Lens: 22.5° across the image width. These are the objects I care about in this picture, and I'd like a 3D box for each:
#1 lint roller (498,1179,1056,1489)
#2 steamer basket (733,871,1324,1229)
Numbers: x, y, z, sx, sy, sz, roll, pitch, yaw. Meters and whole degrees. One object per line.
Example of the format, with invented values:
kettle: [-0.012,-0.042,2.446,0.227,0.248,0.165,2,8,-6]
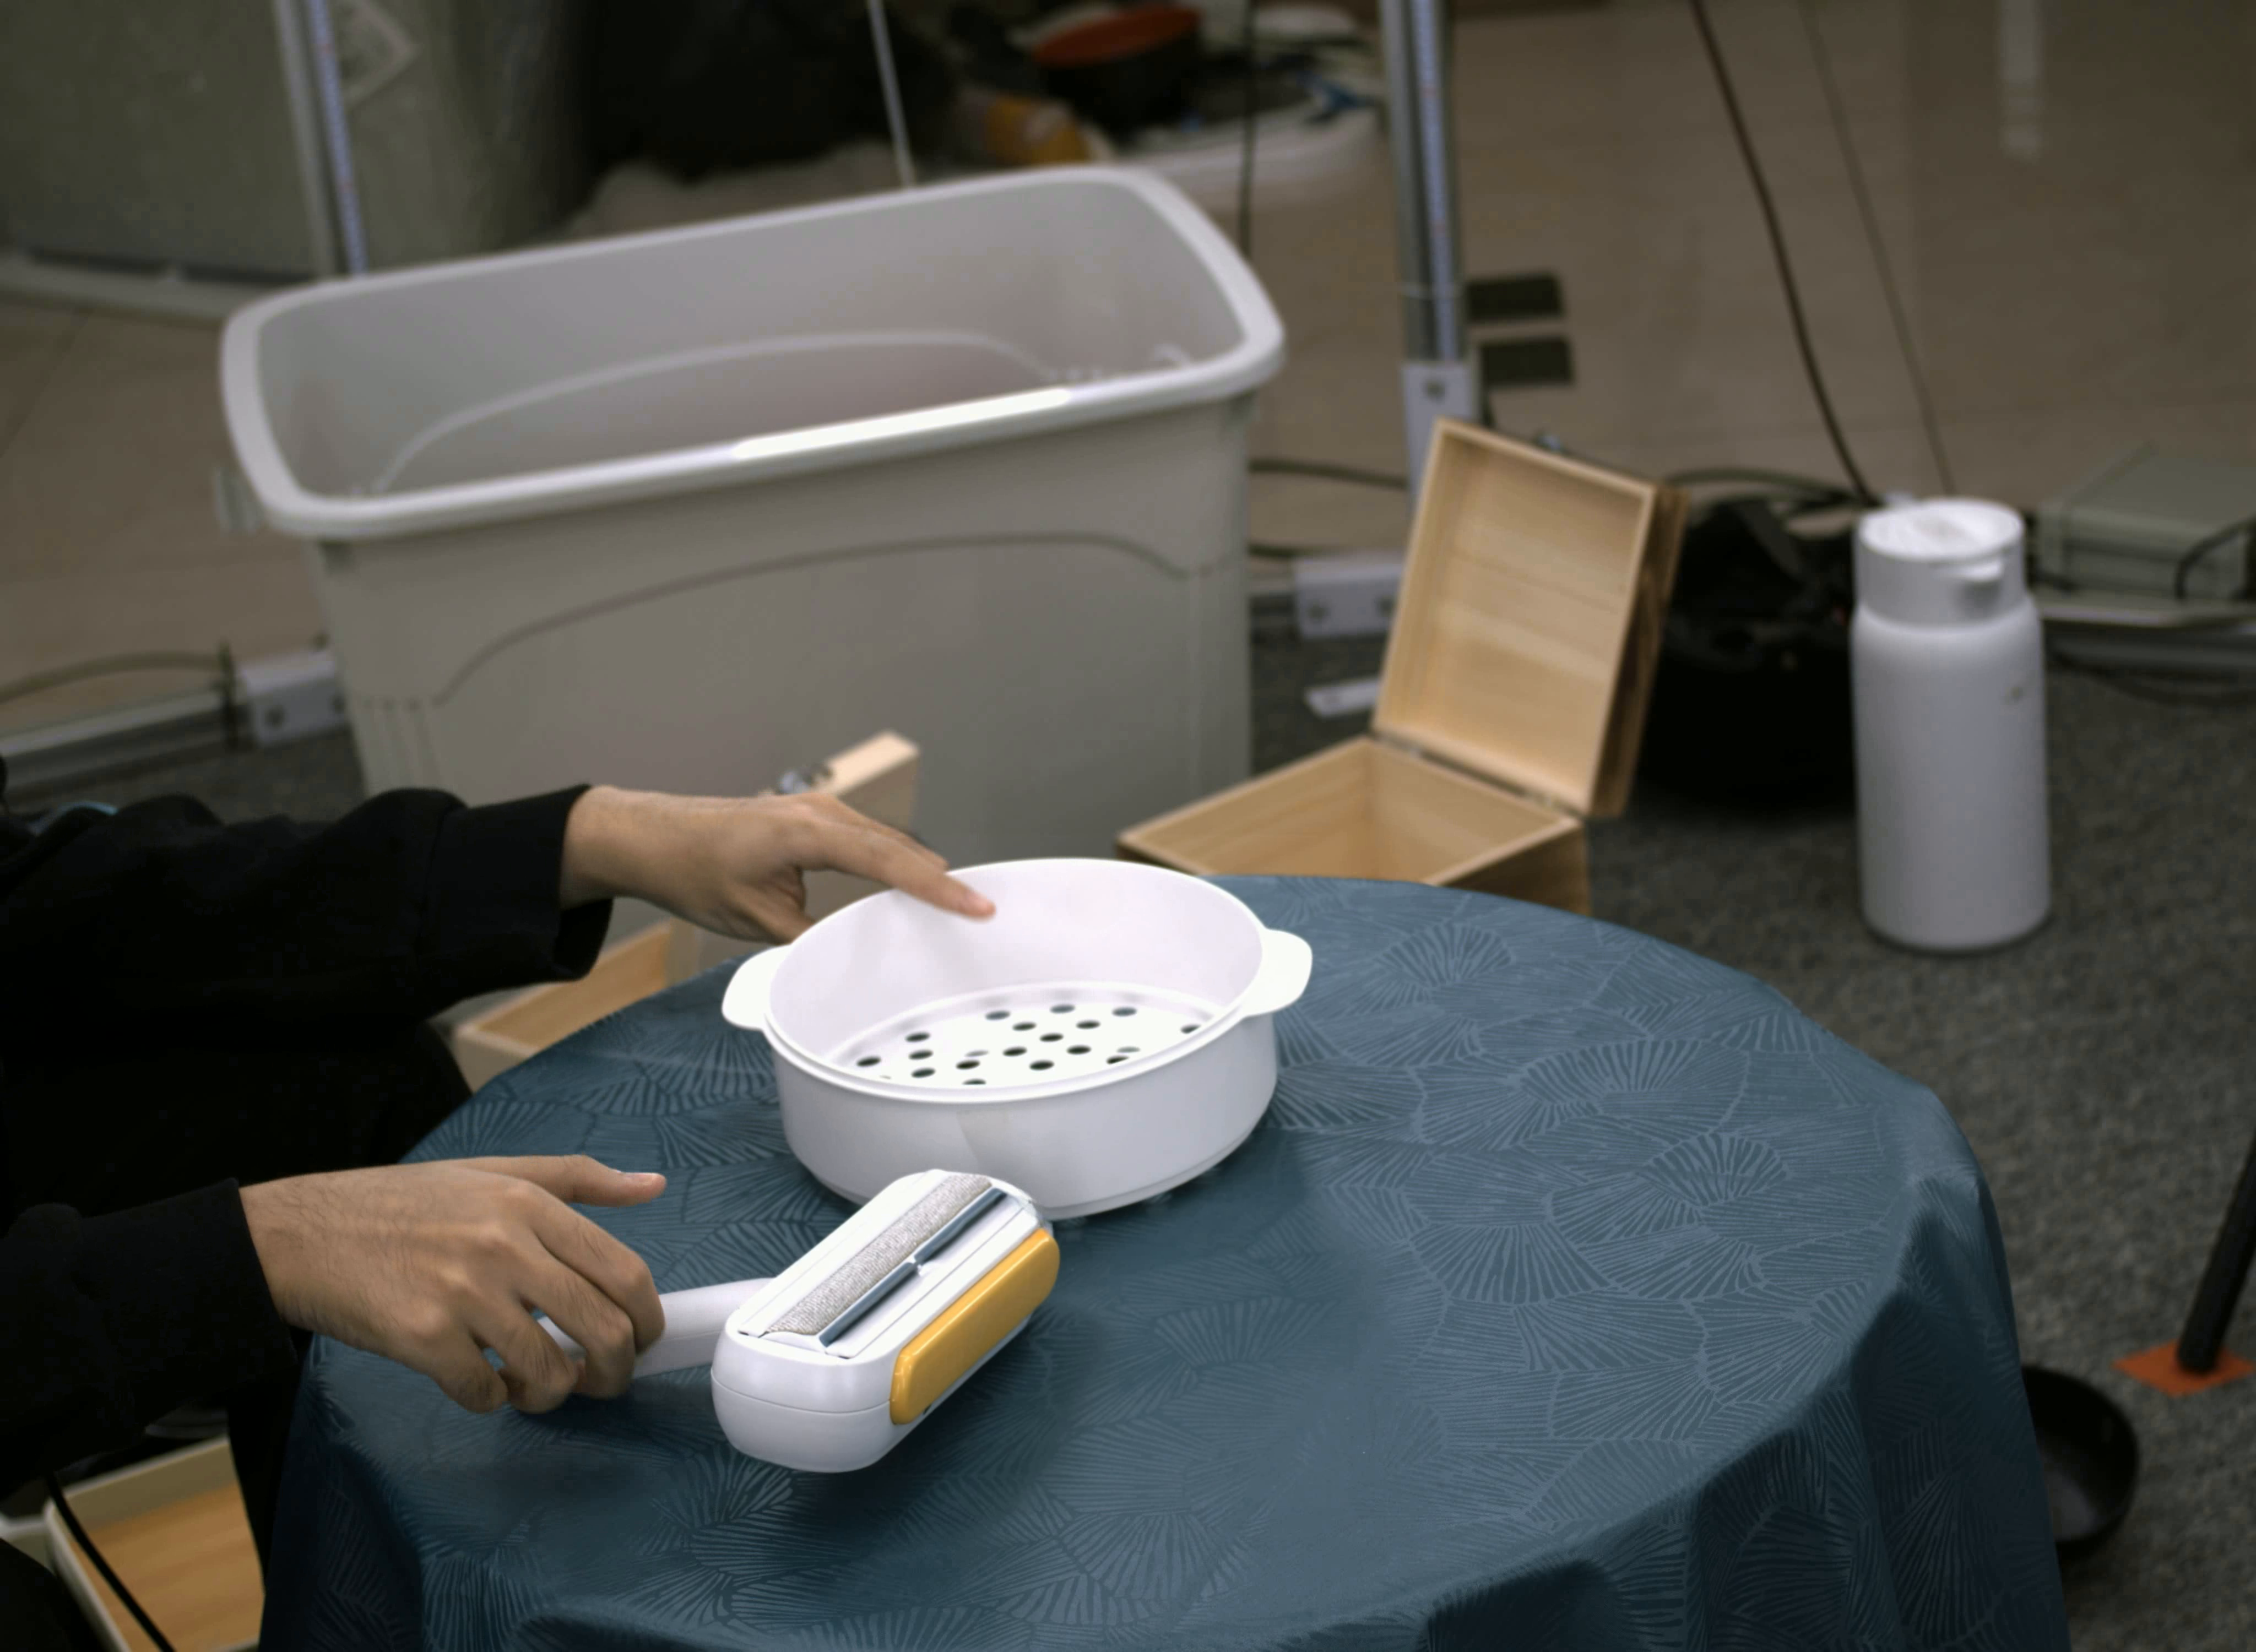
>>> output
lint roller: [-0.140,0.178,2.014,0.192,0.075,0.191,4,22,25]
steamer basket: [-0.035,0.087,2.189,0.230,0.070,0.199,-4,23,11]
